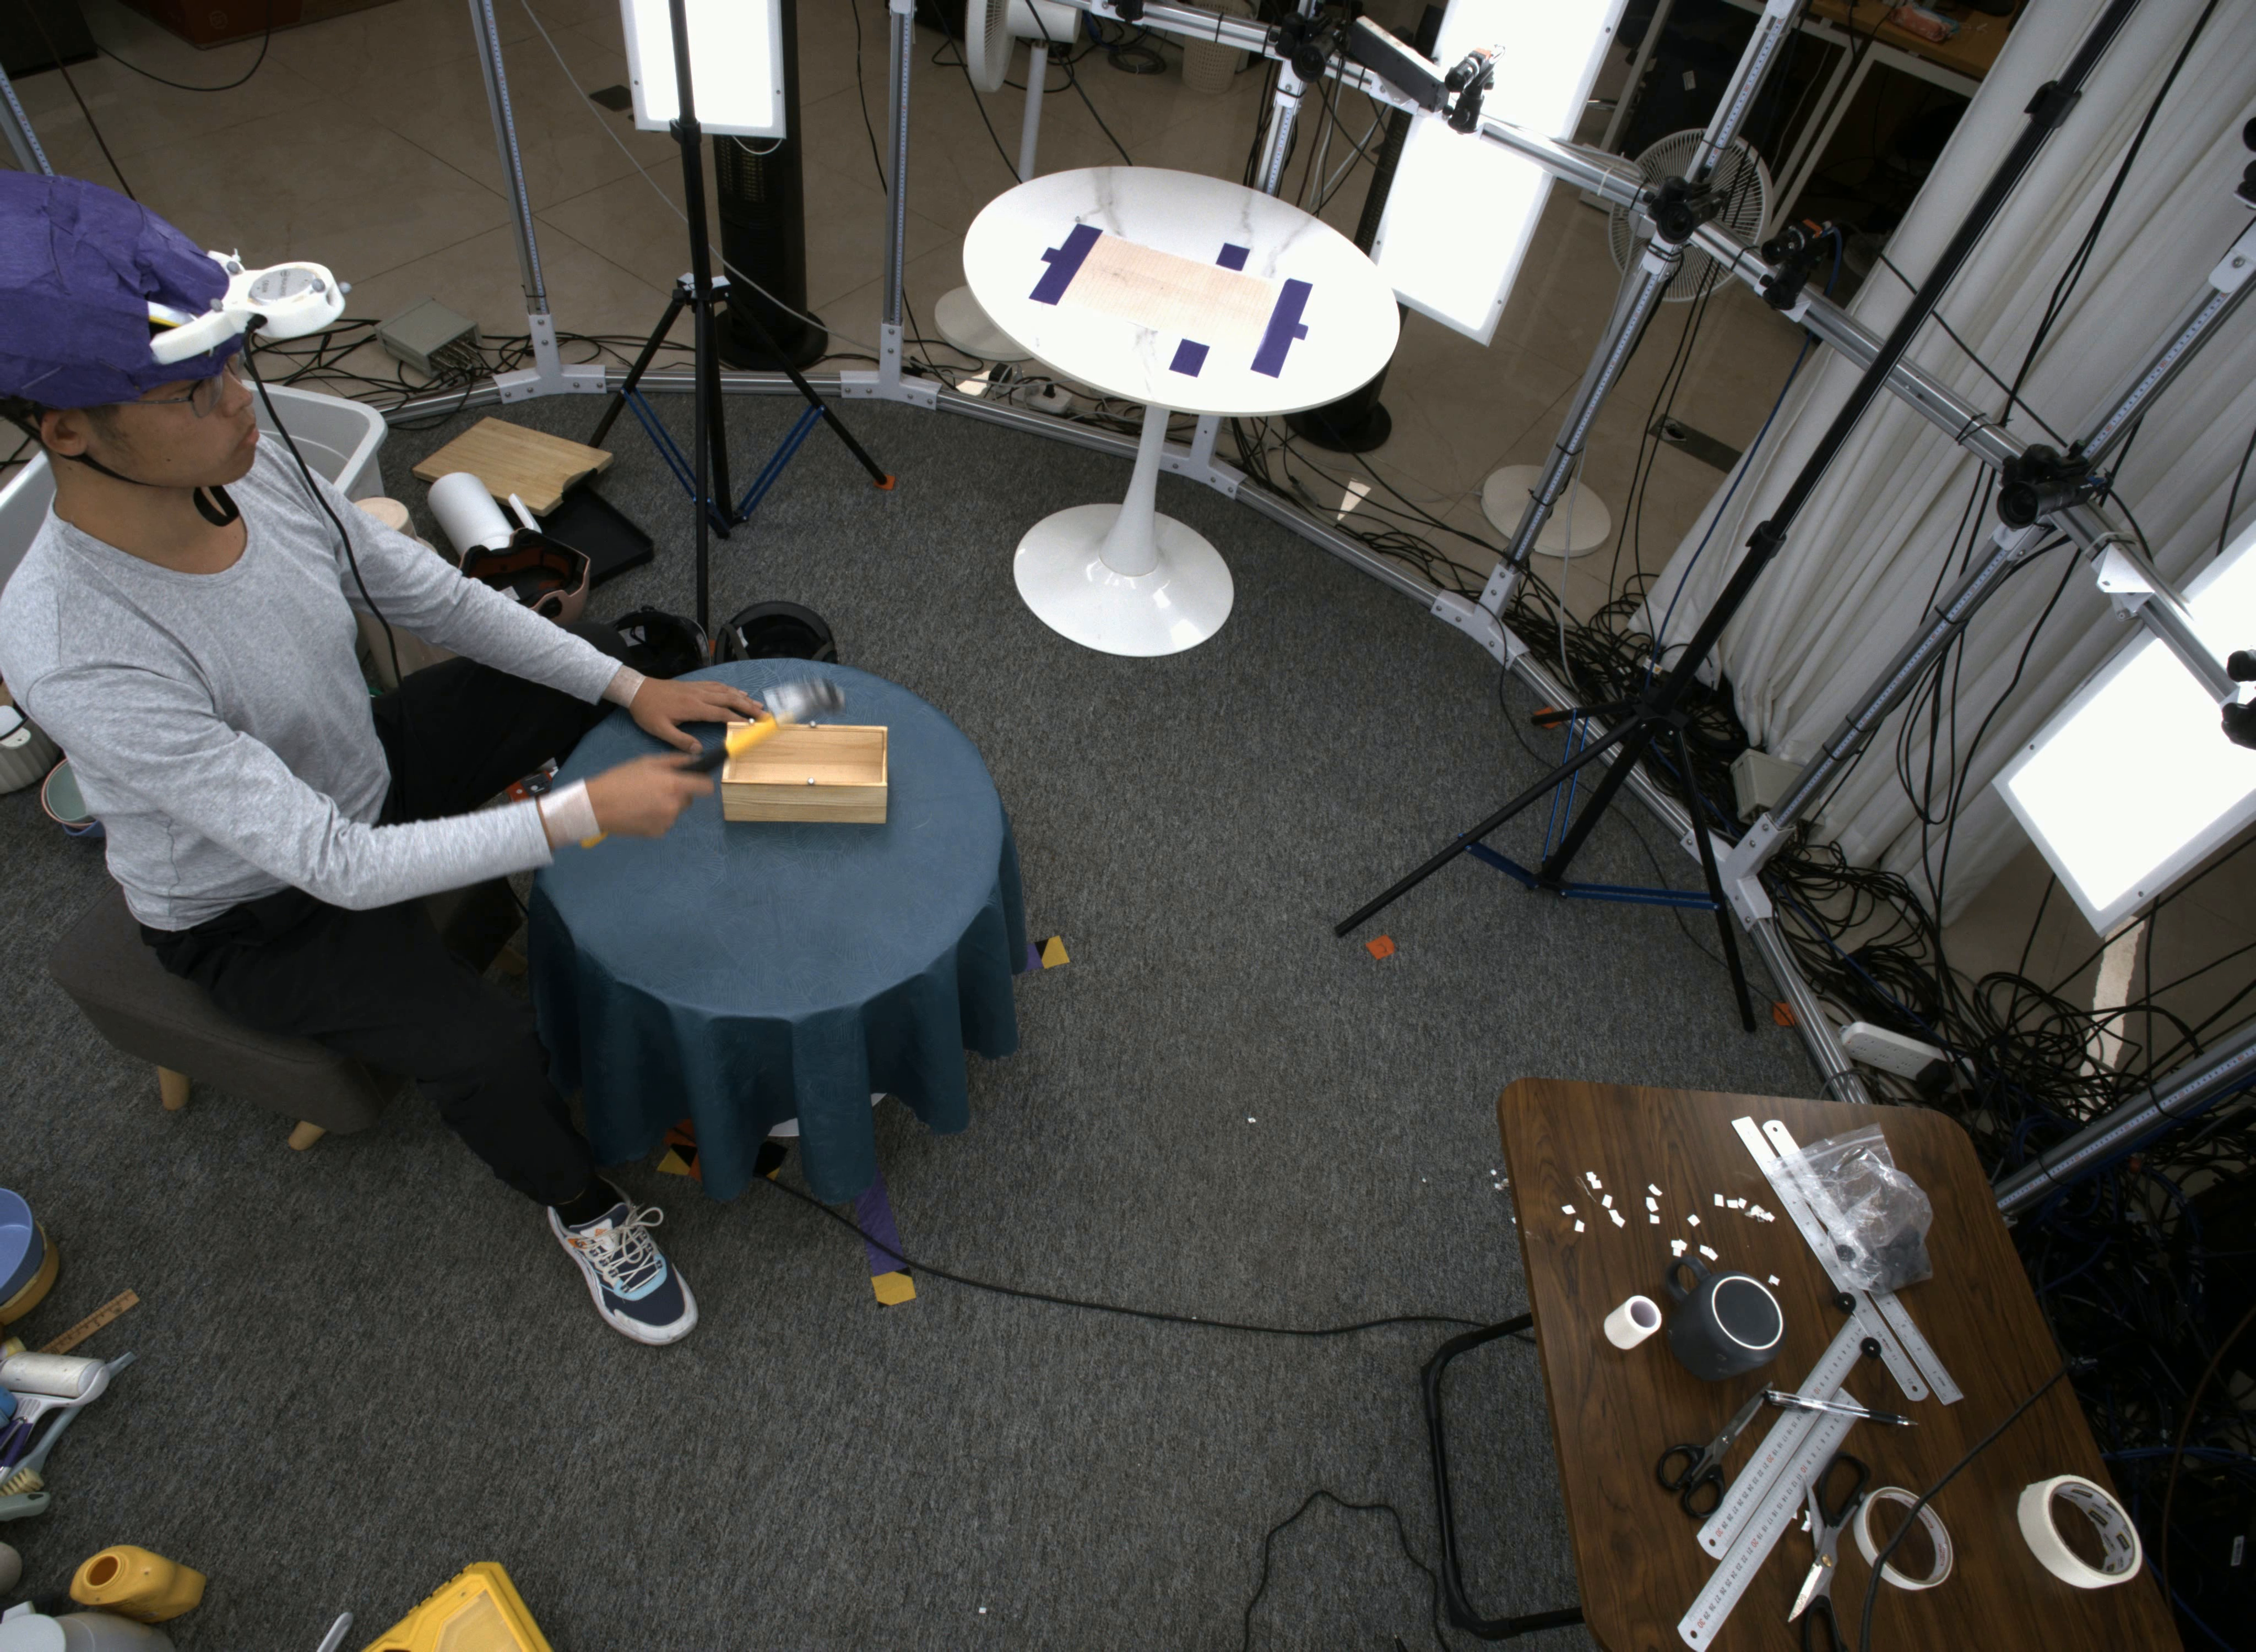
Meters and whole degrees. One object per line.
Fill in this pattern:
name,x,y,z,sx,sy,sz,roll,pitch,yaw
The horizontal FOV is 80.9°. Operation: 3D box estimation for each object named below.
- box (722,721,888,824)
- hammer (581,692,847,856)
box,-0.427,-0.071,1.727,0.211,0.082,0.105,1,54,-13
hammer,-0.478,-0.061,1.455,0.336,0.131,0.032,-29,93,1
